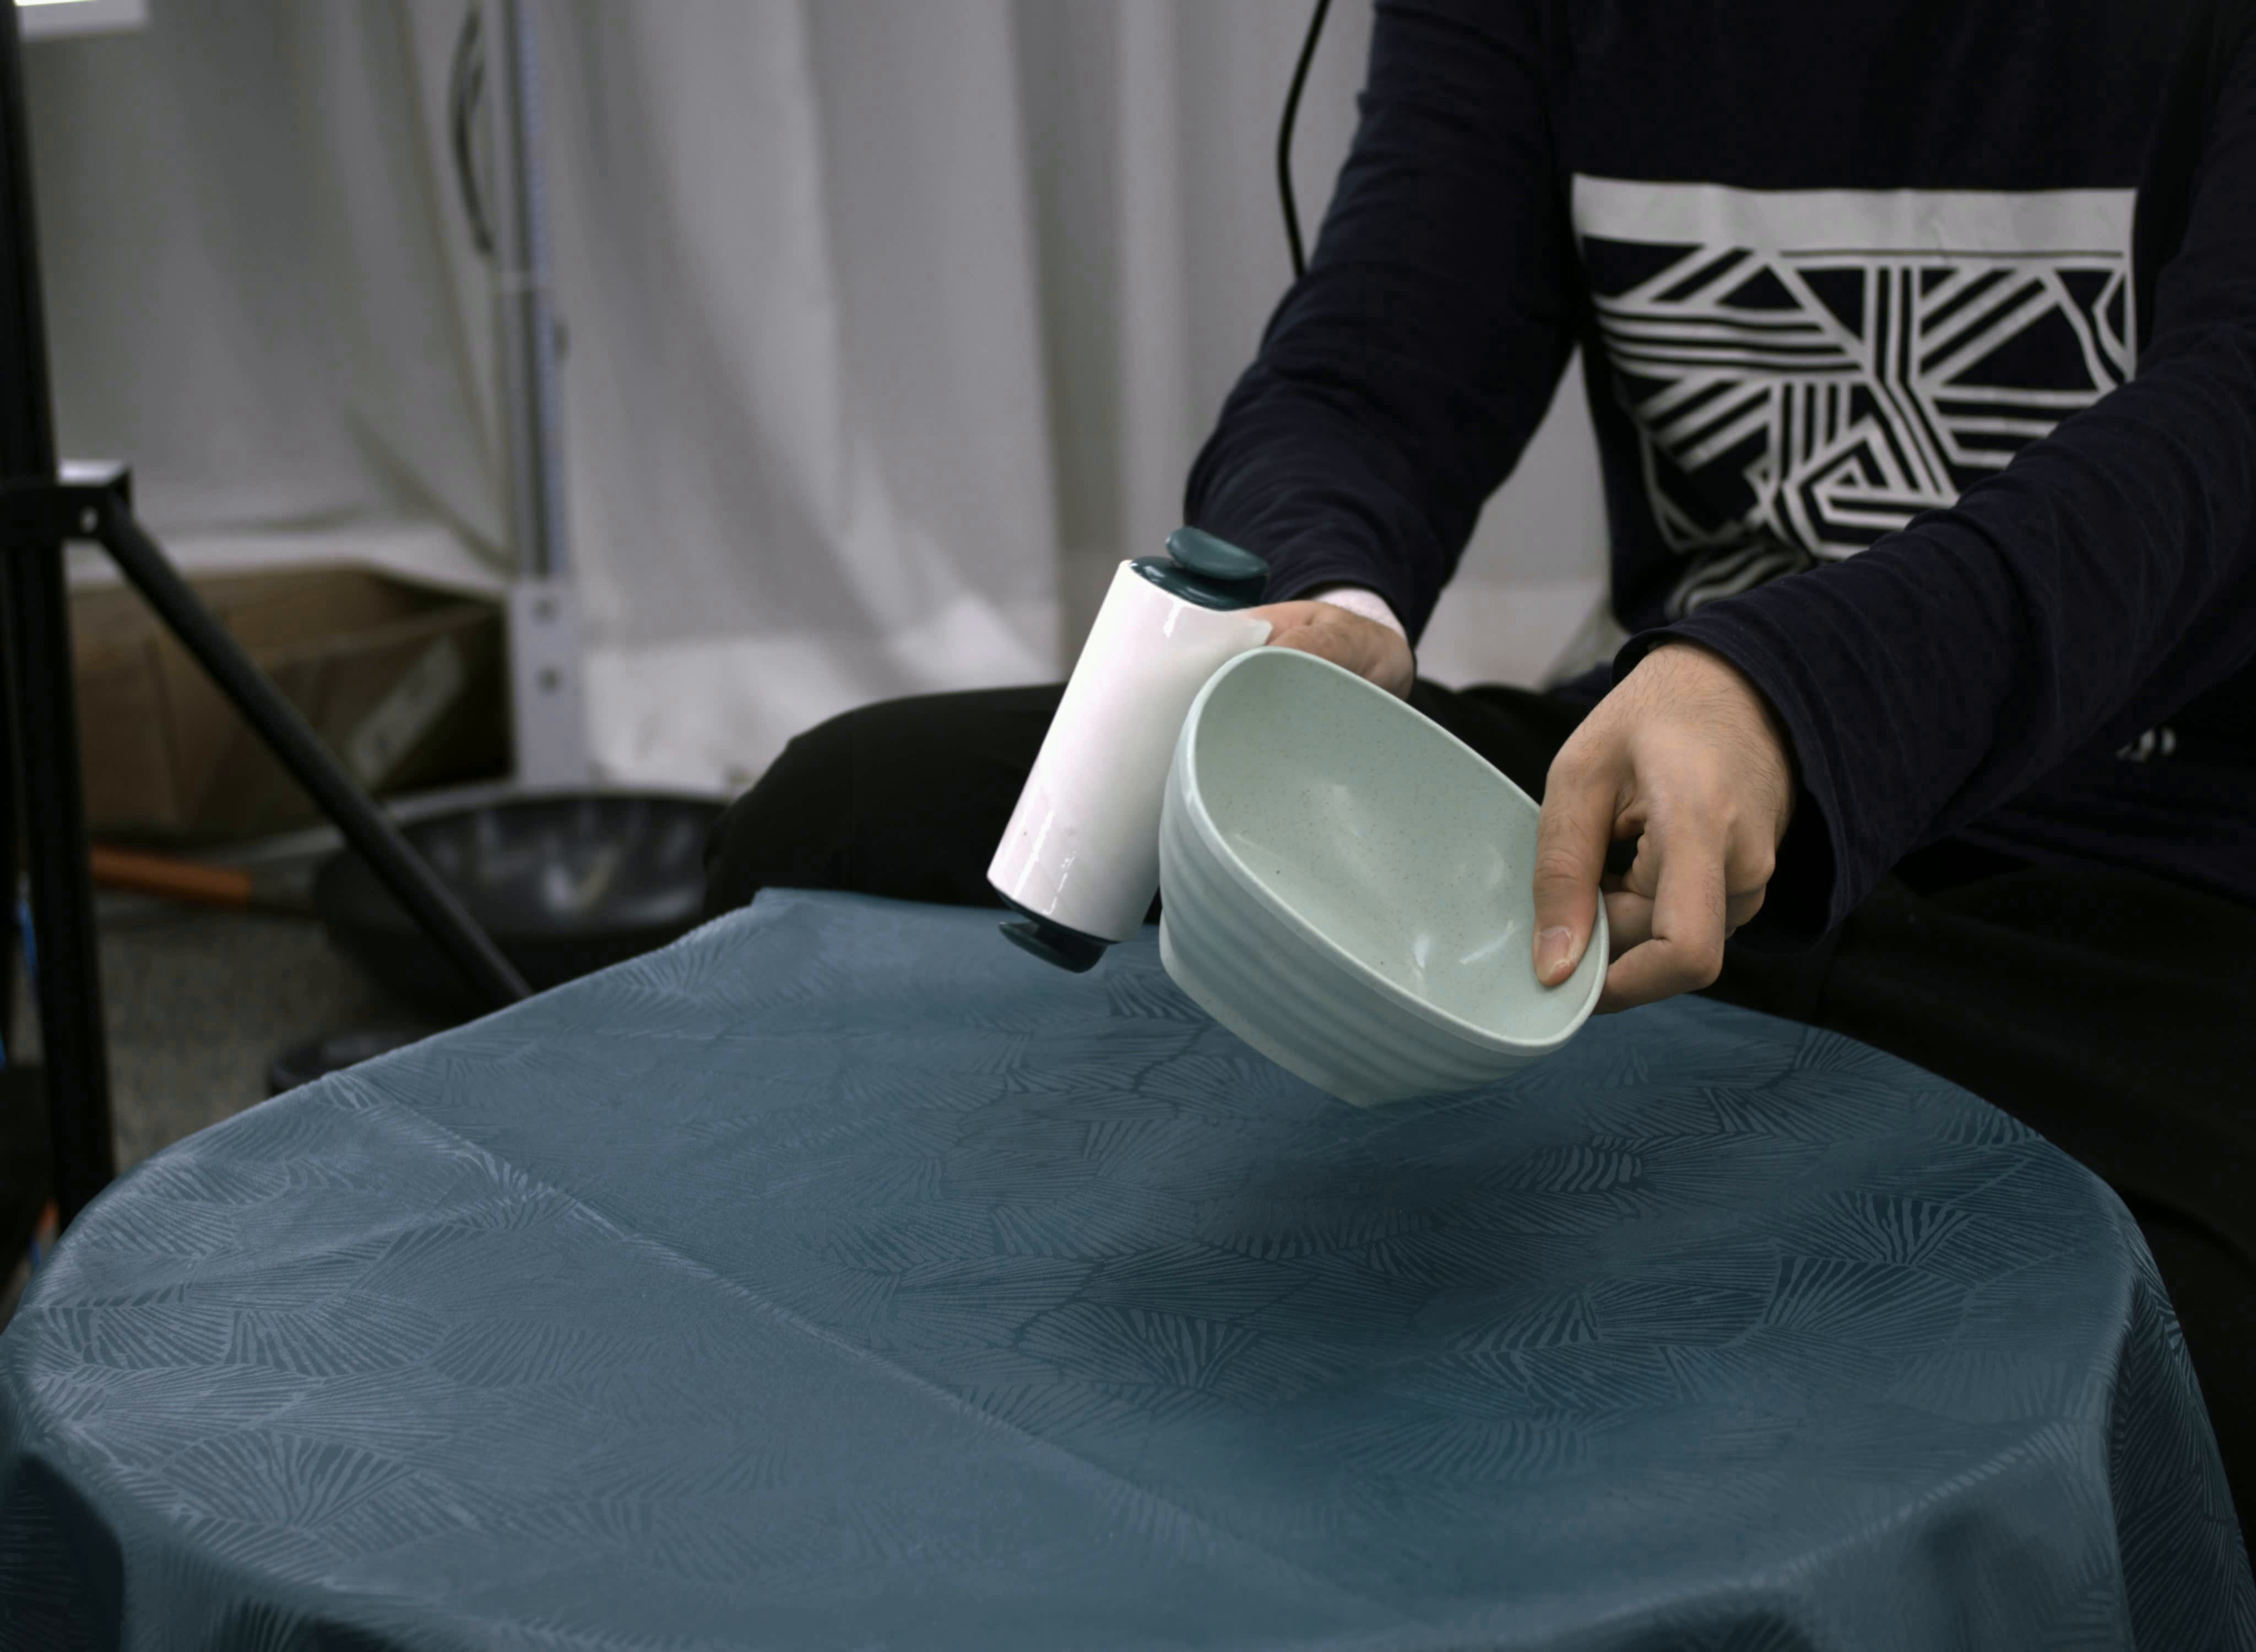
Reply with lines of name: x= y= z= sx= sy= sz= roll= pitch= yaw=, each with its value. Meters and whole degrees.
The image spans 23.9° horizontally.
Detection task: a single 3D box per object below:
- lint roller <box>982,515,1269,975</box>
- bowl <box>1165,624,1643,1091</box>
lint roller: x=0.019 y=-0.025 z=1.577 sx=0.049 sy=0.135 sz=0.177 roll=27 pitch=11 yaw=13
bowl: x=0.067 y=0.018 z=1.469 sx=0.149 sy=0.059 sz=0.153 roll=16 pitch=41 yaw=-16
